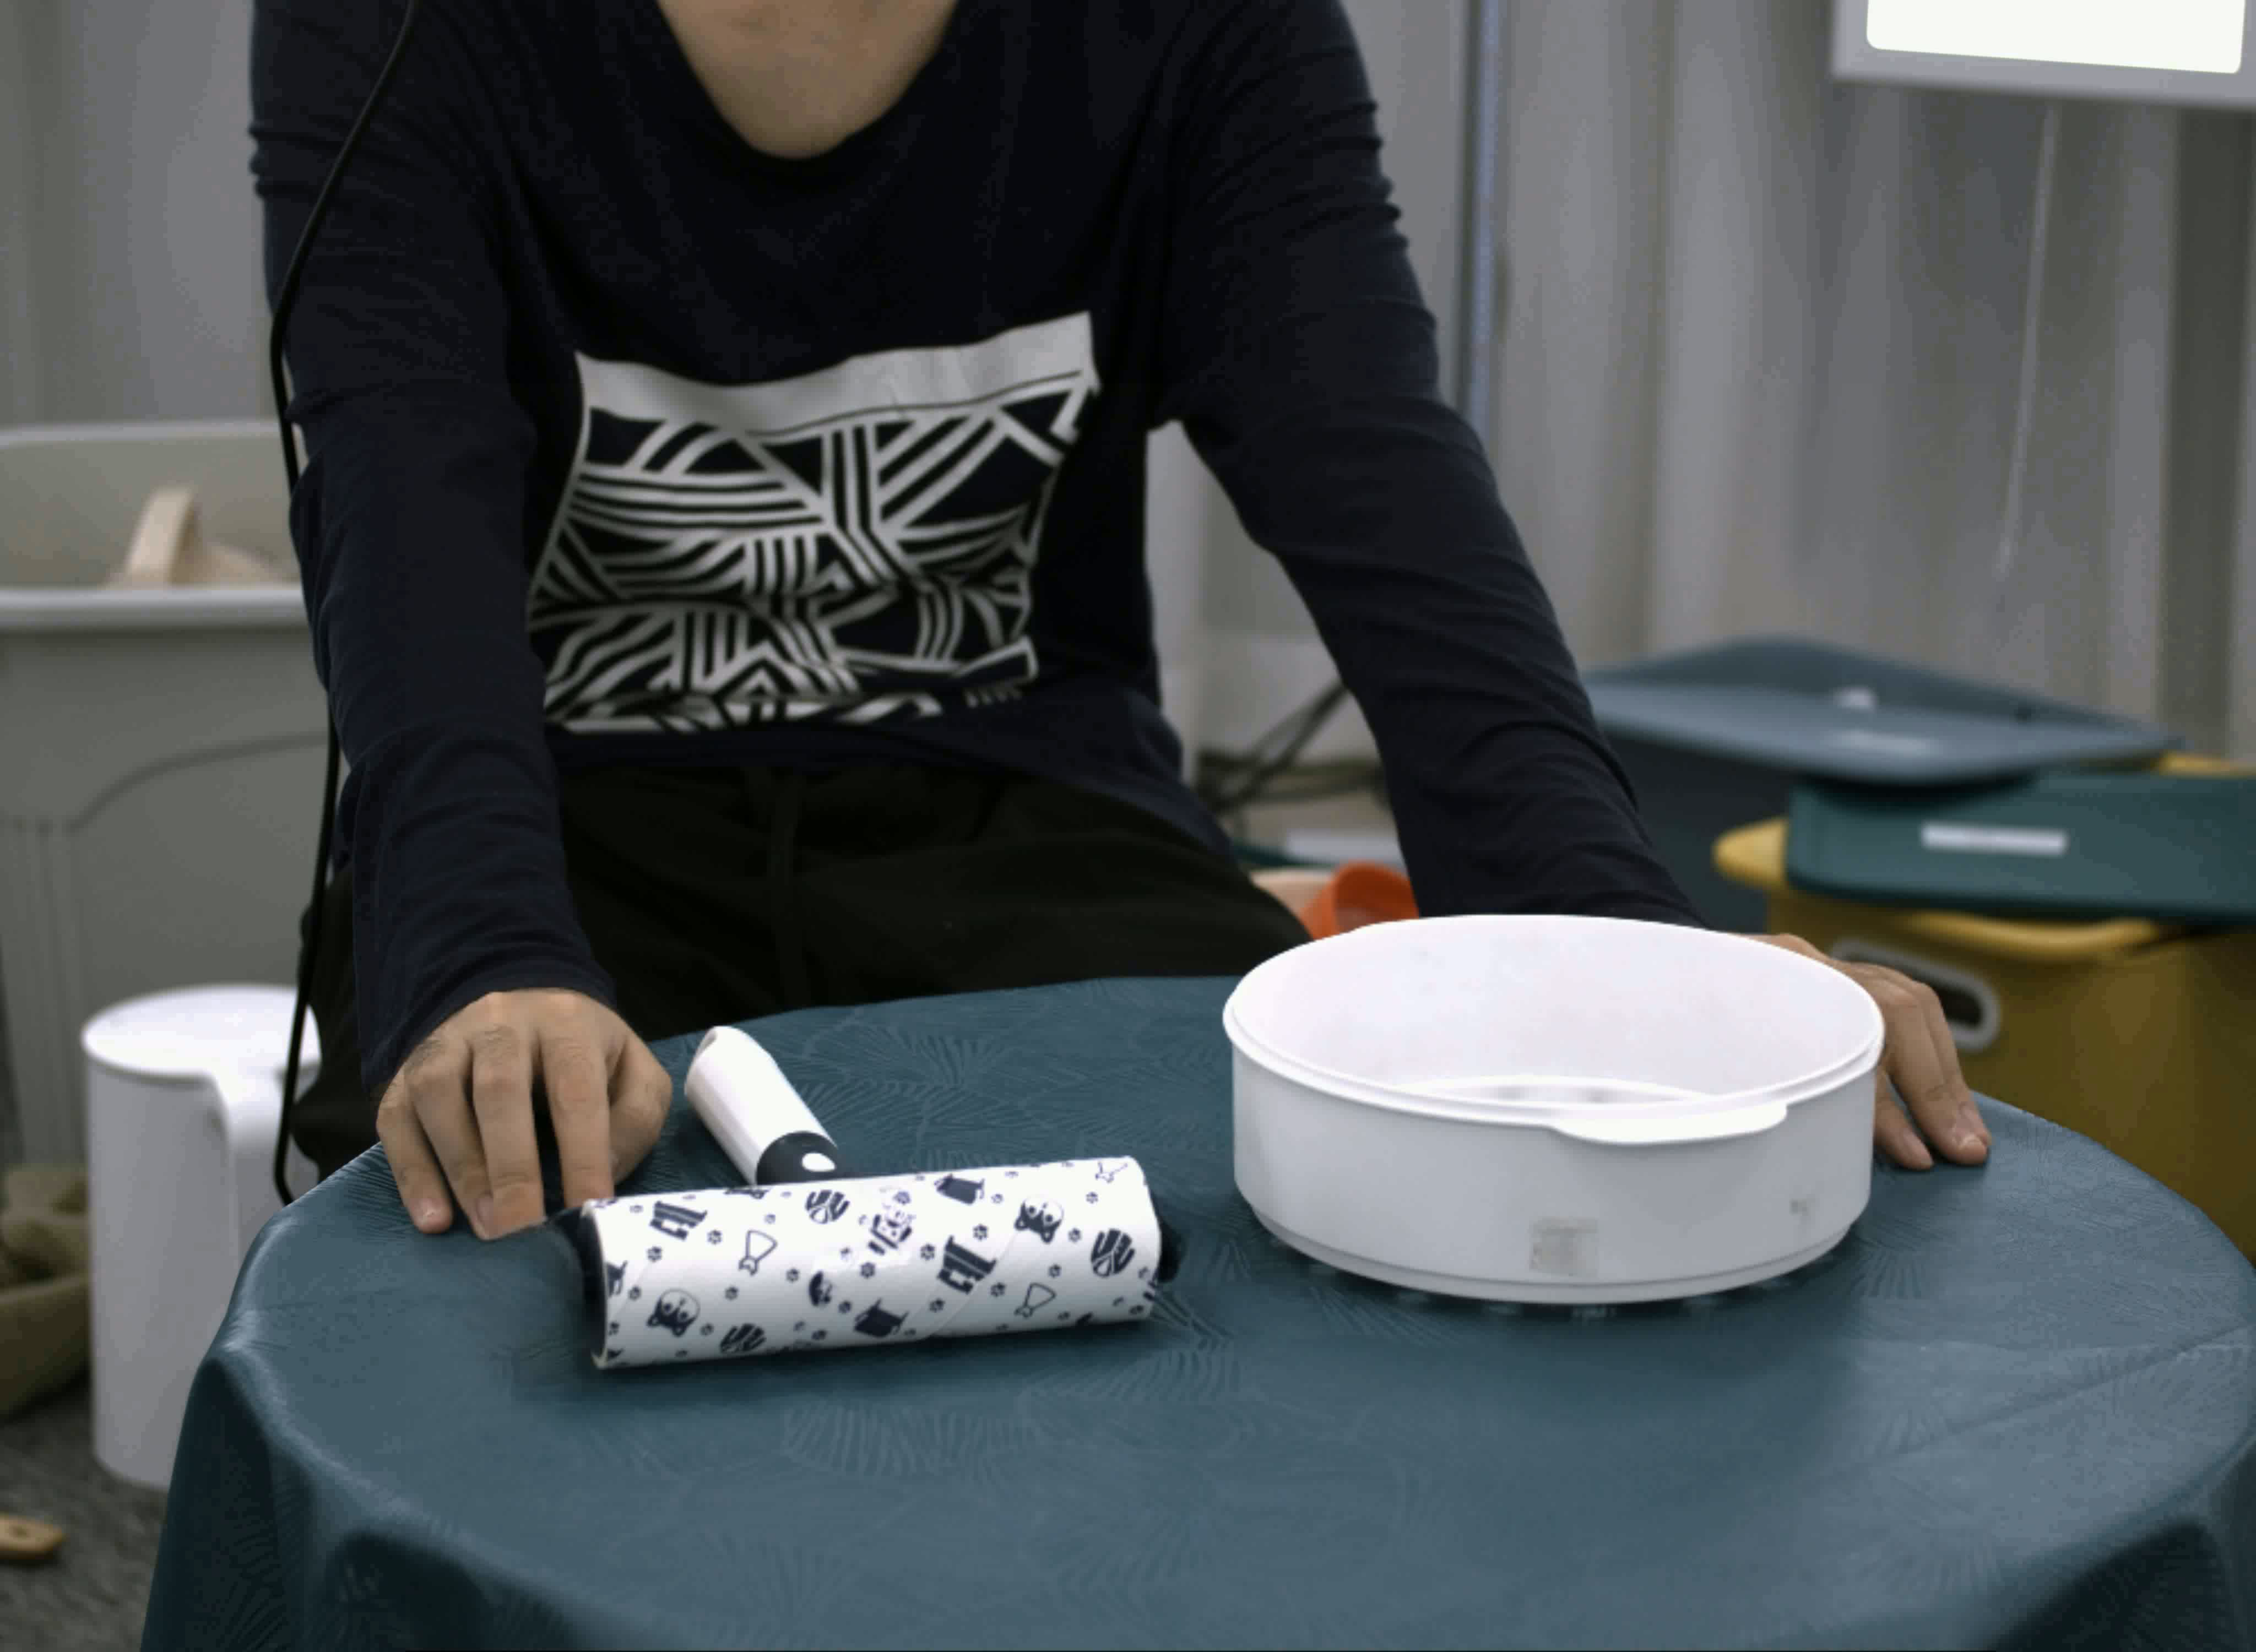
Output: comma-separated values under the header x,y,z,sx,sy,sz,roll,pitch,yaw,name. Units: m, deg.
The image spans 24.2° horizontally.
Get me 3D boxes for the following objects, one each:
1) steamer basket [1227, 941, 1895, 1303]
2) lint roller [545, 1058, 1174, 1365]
x,y,z,sx,sy,sz,roll,pitch,yaw,name
0.130,0.089,1.595,0.202,0.070,0.228,-3,13,-16,steamer basket
-0.103,0.101,1.586,0.176,0.051,0.244,-5,13,-16,lint roller
